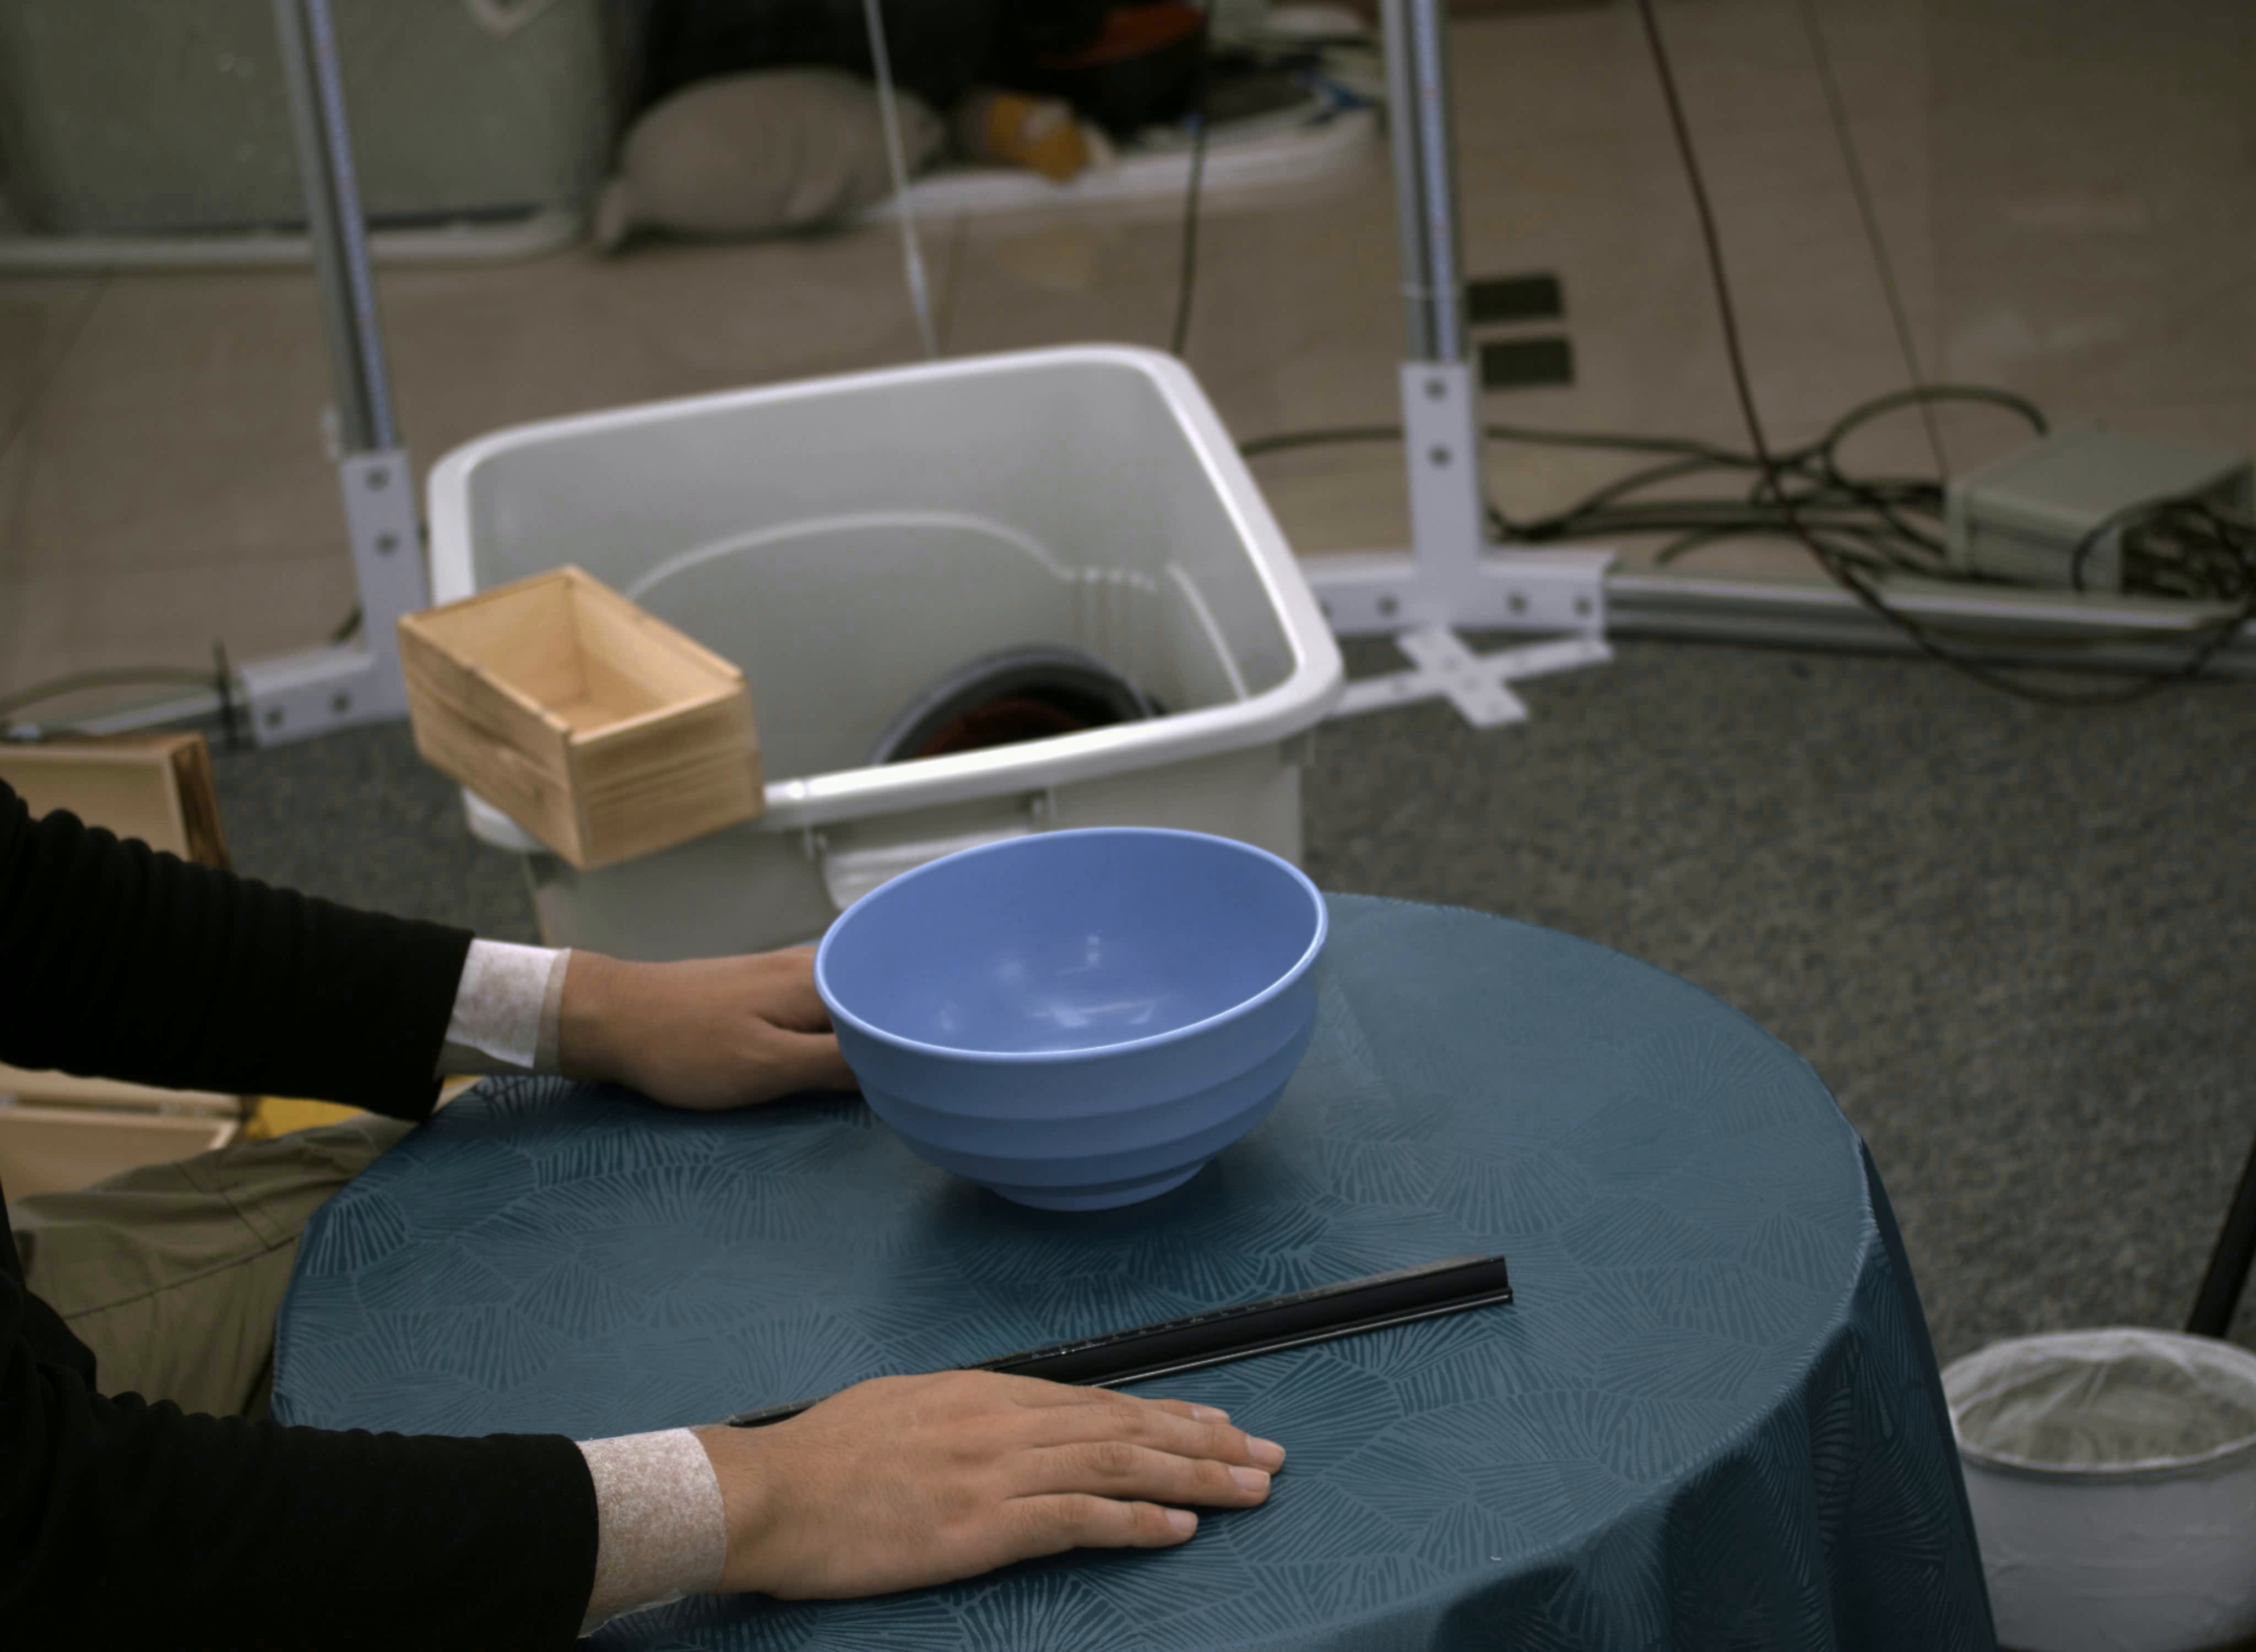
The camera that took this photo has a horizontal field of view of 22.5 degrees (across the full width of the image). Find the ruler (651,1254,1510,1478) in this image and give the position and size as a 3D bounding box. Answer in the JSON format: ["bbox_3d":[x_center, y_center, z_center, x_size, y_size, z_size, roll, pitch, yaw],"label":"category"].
[{"bbox_3d":[-0.017,0.187,2.031,0.312,0.017,0.039,-11,19,-10],"label":"ruler"}]

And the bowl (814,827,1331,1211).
[{"bbox_3d":[-0.017,0.084,2.156,0.196,0.097,0.193,-5,25,2],"label":"bowl"}]
